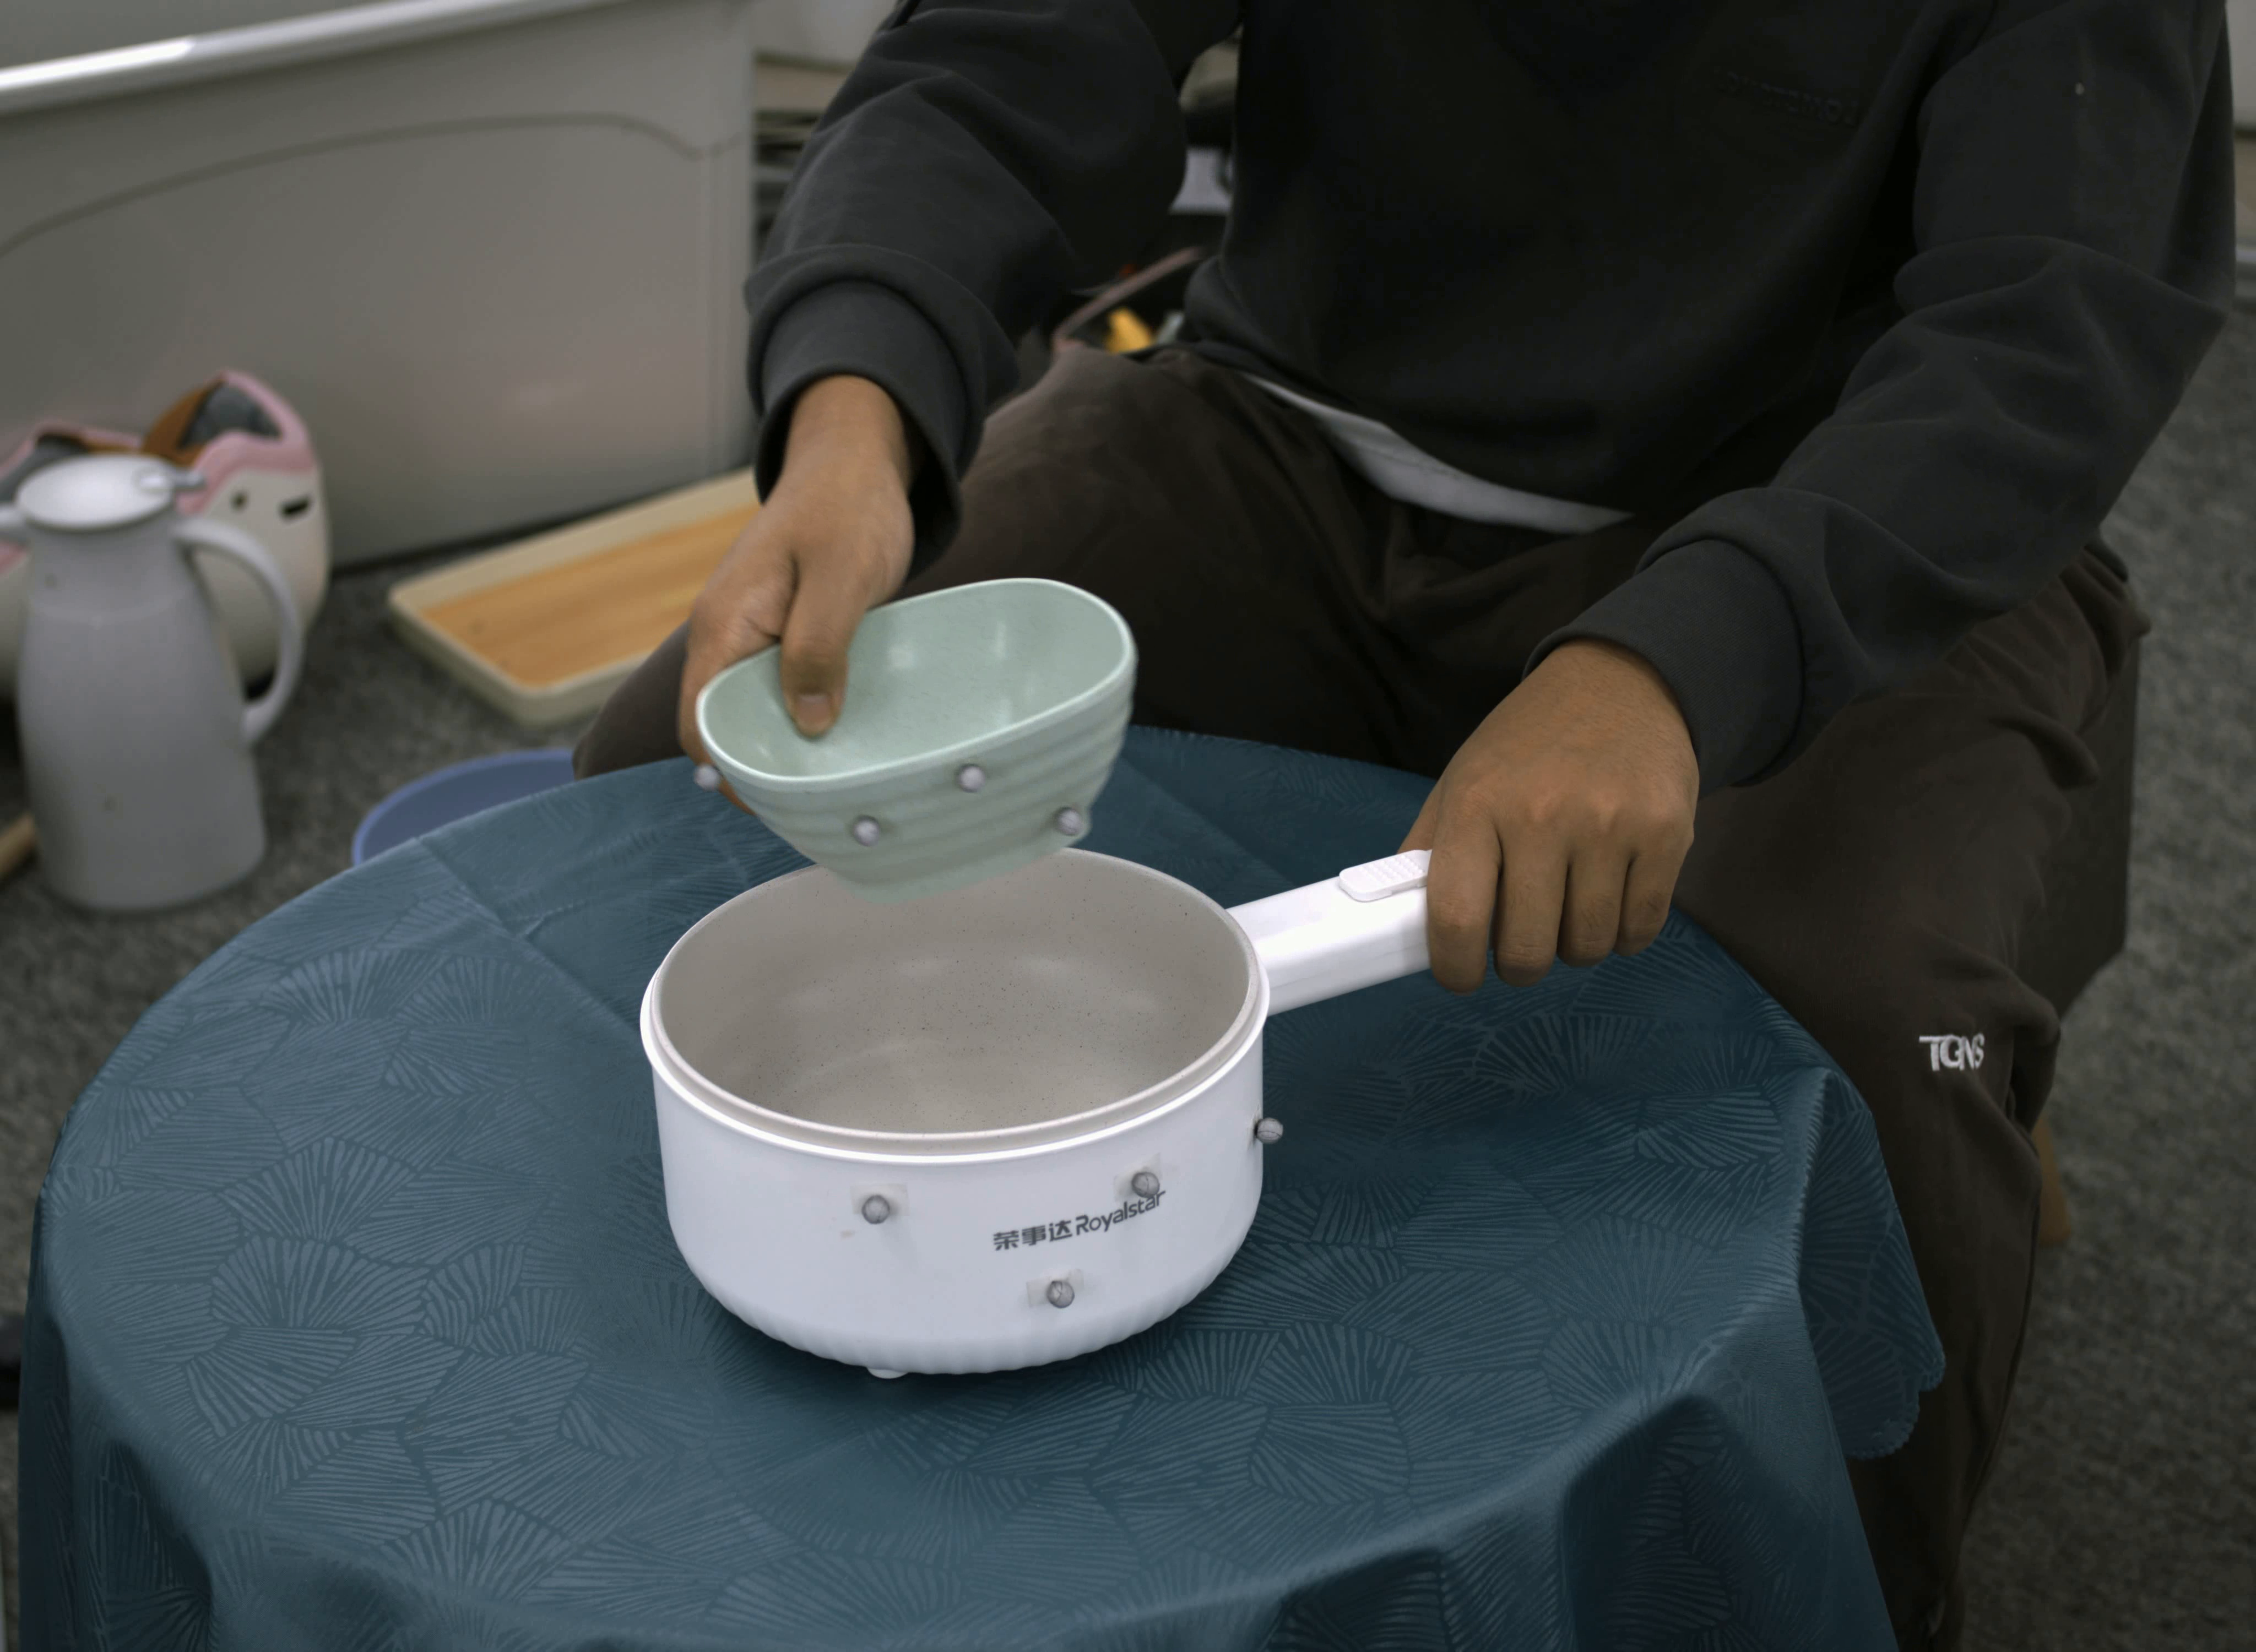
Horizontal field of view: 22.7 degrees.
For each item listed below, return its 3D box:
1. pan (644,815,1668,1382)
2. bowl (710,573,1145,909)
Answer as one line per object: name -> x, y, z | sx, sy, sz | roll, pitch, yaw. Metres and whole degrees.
pan -> 0.015, 0.081, 1.845 | 0.356, 0.101, 0.202 | -13, 27, -24
bowl -> -0.058, -0.022, 1.797 | 0.150, 0.058, 0.153 | -12, 24, 6
